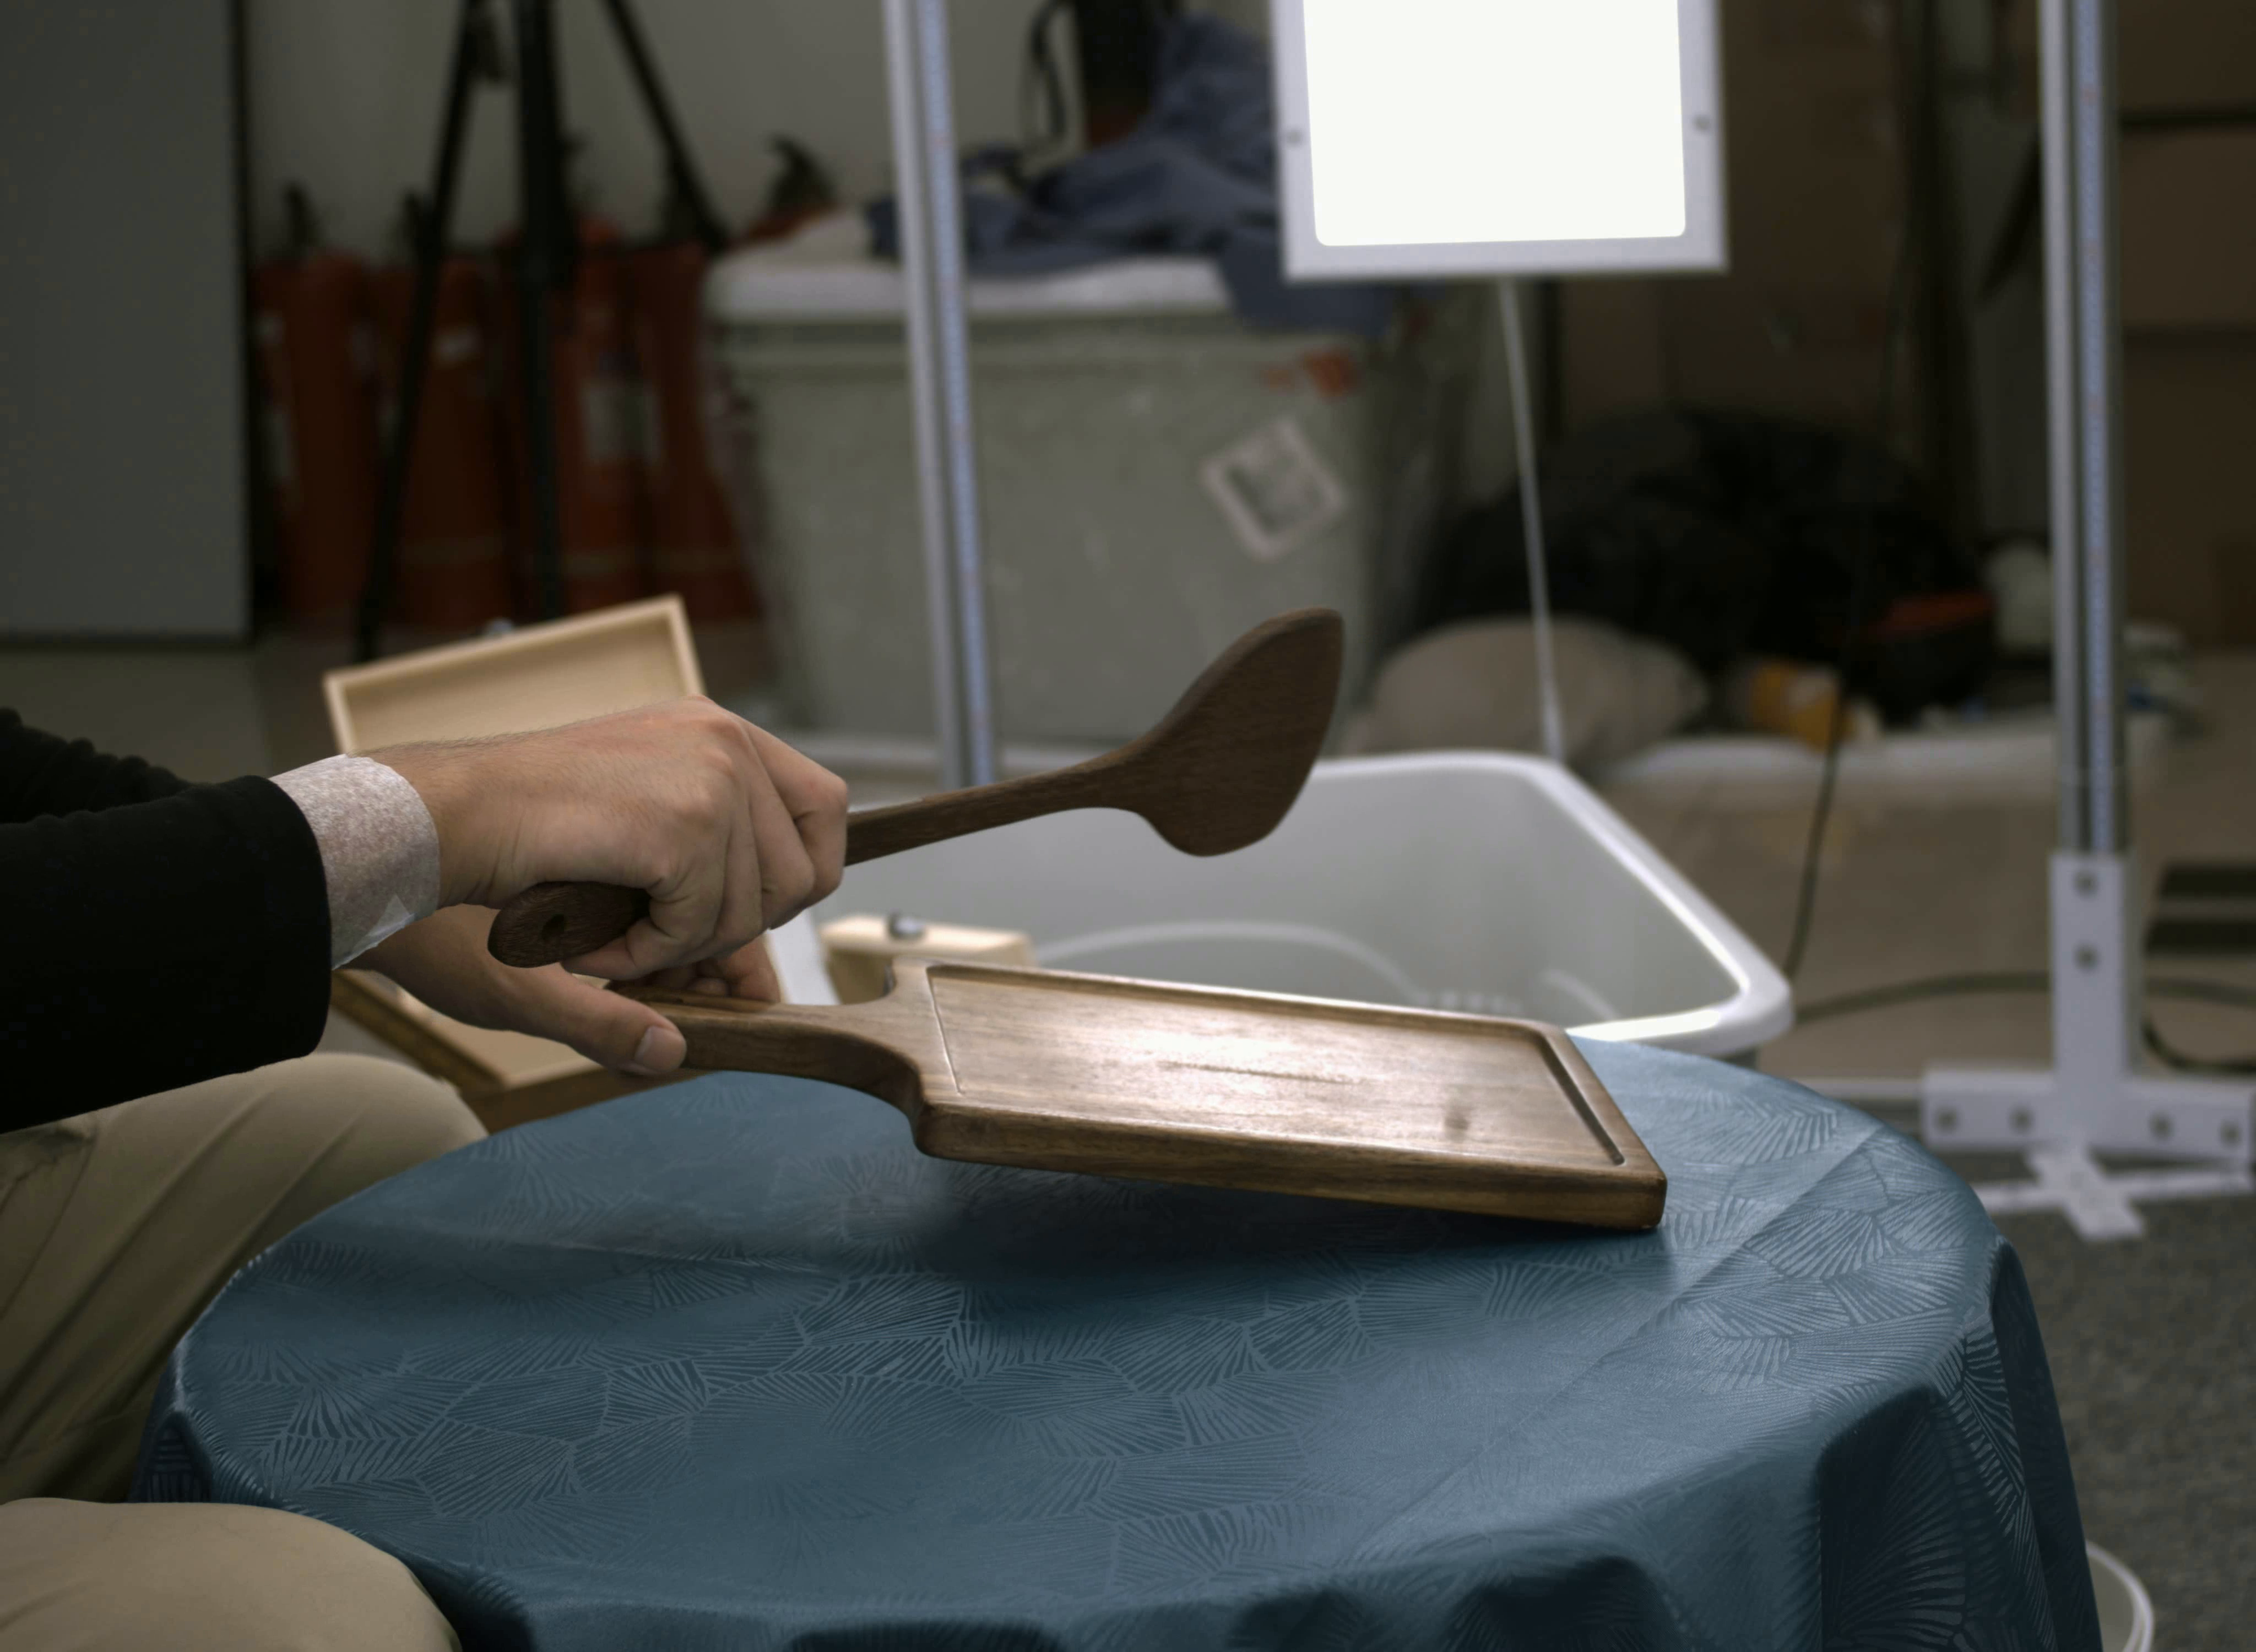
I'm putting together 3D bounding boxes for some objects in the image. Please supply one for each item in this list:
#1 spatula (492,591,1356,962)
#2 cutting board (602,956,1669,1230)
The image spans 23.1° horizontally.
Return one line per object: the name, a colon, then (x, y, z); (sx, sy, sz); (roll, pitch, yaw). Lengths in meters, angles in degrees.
spatula: (-0.058, -0.005, 1.788); (0.376, 0.097, 0.016); (-15, 39, -42)
cutting board: (-0.004, 0.084, 1.880); (0.349, 0.023, 0.201); (6, 12, -6)
